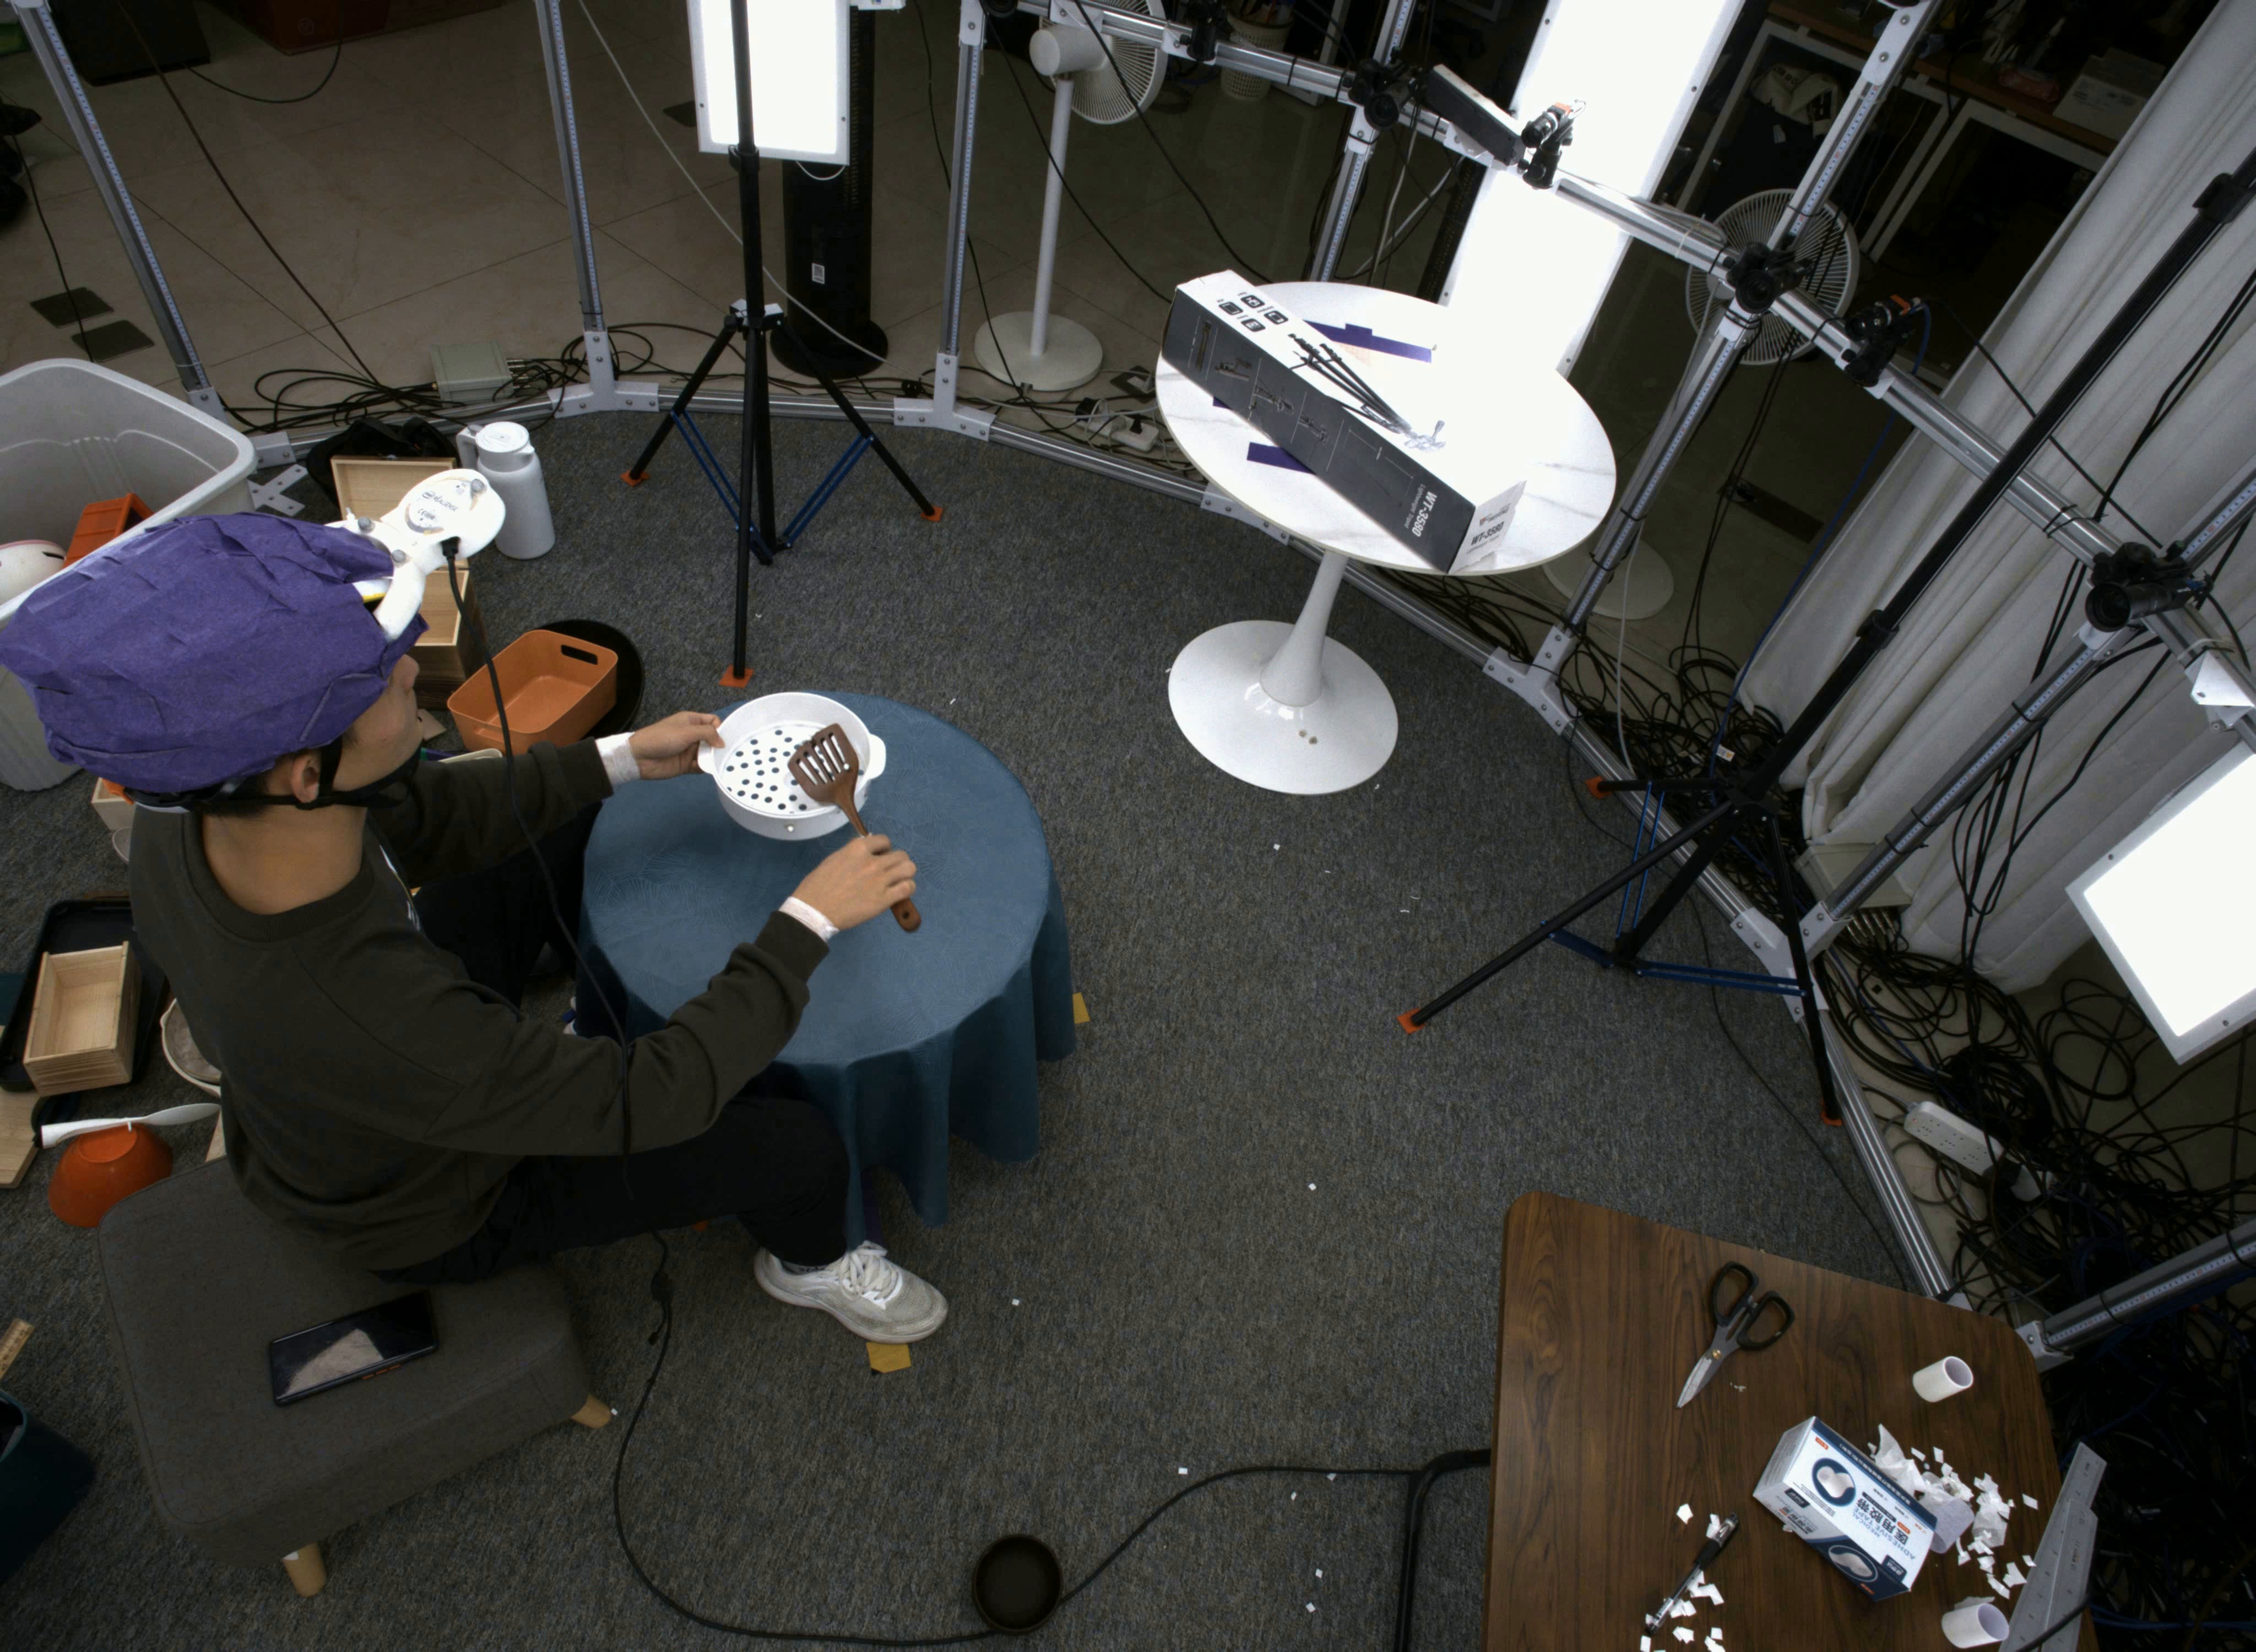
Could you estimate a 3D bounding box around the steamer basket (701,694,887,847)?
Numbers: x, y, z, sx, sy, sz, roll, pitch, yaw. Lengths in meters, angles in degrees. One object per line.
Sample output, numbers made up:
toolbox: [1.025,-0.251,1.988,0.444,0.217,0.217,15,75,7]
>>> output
steamer basket: [-0.420,-0.071,1.647,0.230,0.071,0.198,-1,56,-8]

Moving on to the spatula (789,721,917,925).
spatula: [-0.312,-0.004,1.504,0.086,0.024,0.371,-43,45,3]
